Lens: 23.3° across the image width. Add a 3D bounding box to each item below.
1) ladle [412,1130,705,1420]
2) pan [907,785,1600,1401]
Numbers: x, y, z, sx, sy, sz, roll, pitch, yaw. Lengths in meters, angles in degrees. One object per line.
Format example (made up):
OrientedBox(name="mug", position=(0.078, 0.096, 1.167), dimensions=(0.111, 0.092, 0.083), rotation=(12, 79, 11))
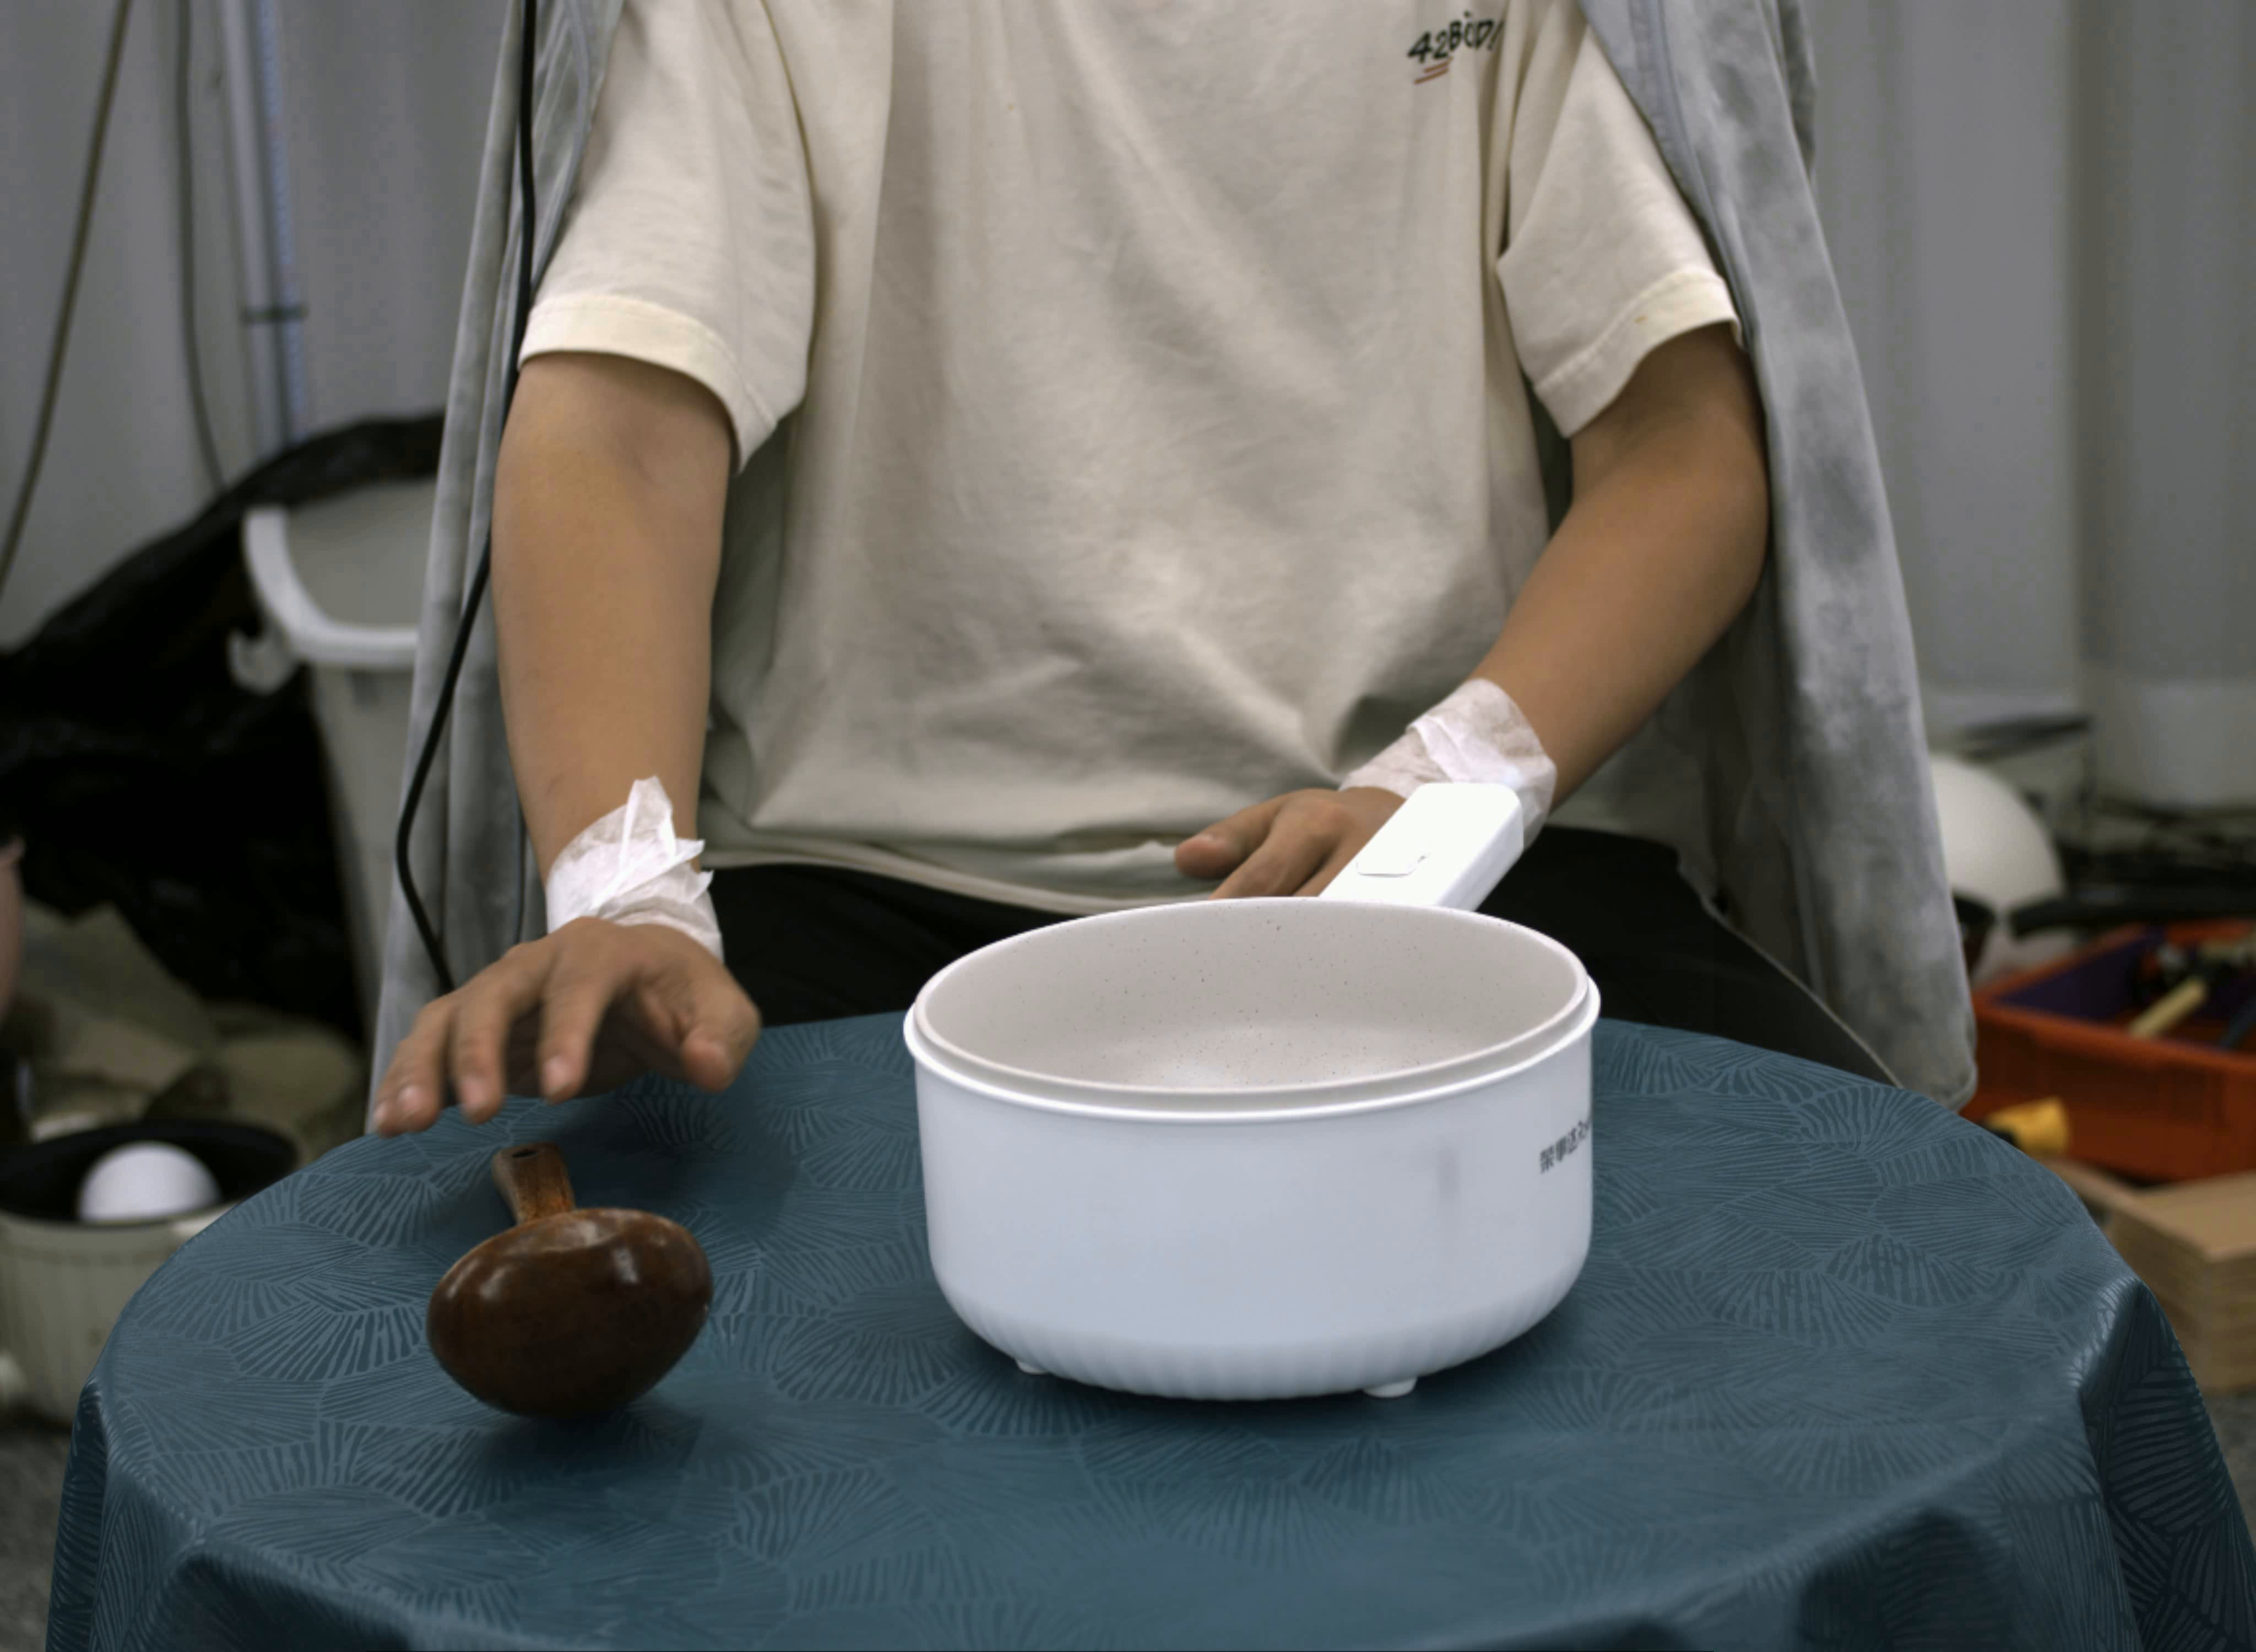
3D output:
OrientedBox(name="ladle", position=(-0.173, 0.109, 1.620), dimensions=(0.081, 0.076, 0.276), rotation=(-7, 16, -7))
OrientedBox(name="pan", position=(0.062, 0.076, 1.660), dimensions=(0.201, 0.102, 0.356), rotation=(2, 15, 18))
